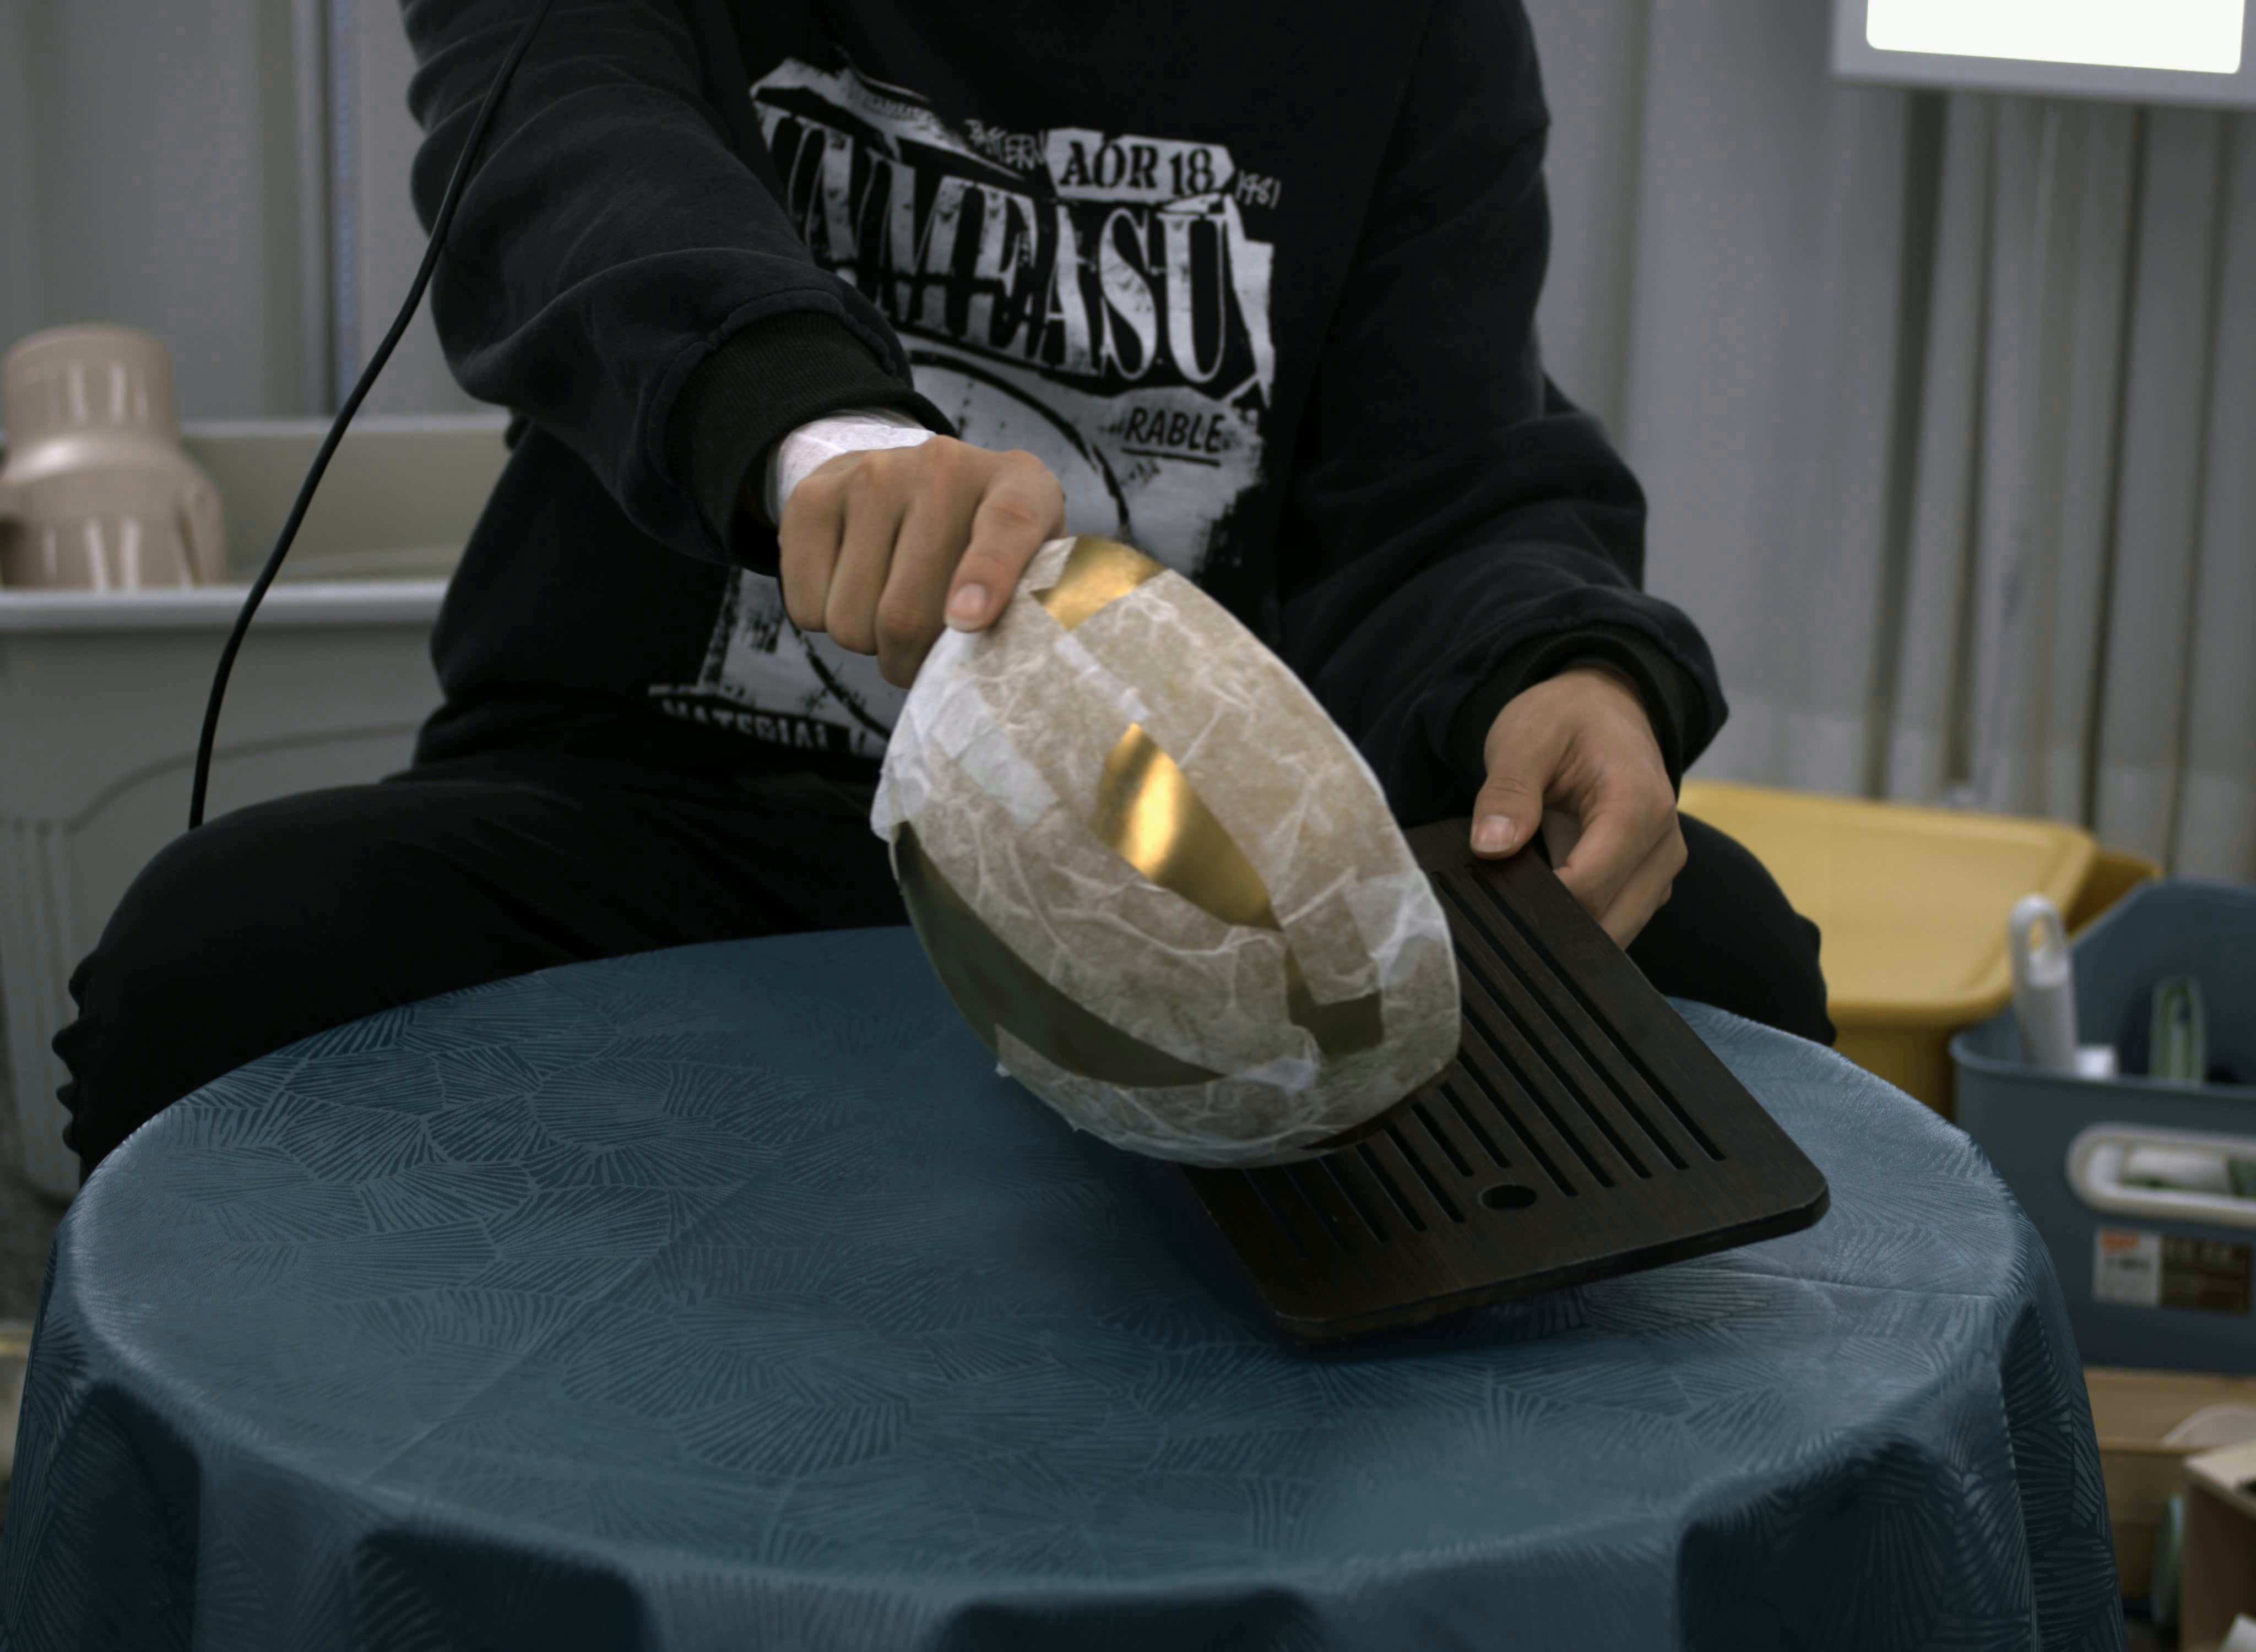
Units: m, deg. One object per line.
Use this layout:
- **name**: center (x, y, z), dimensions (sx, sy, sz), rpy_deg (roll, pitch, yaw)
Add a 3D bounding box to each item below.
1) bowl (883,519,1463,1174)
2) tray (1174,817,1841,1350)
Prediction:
- **bowl**: center (-0.005, 0.026, 1.521), dimensions (0.094, 0.217, 0.212), rpy_deg (-37, 33, -22)
- **tray**: center (0.088, 0.075, 1.631), dimensions (0.170, 0.019, 0.302), rpy_deg (-12, 25, -12)
